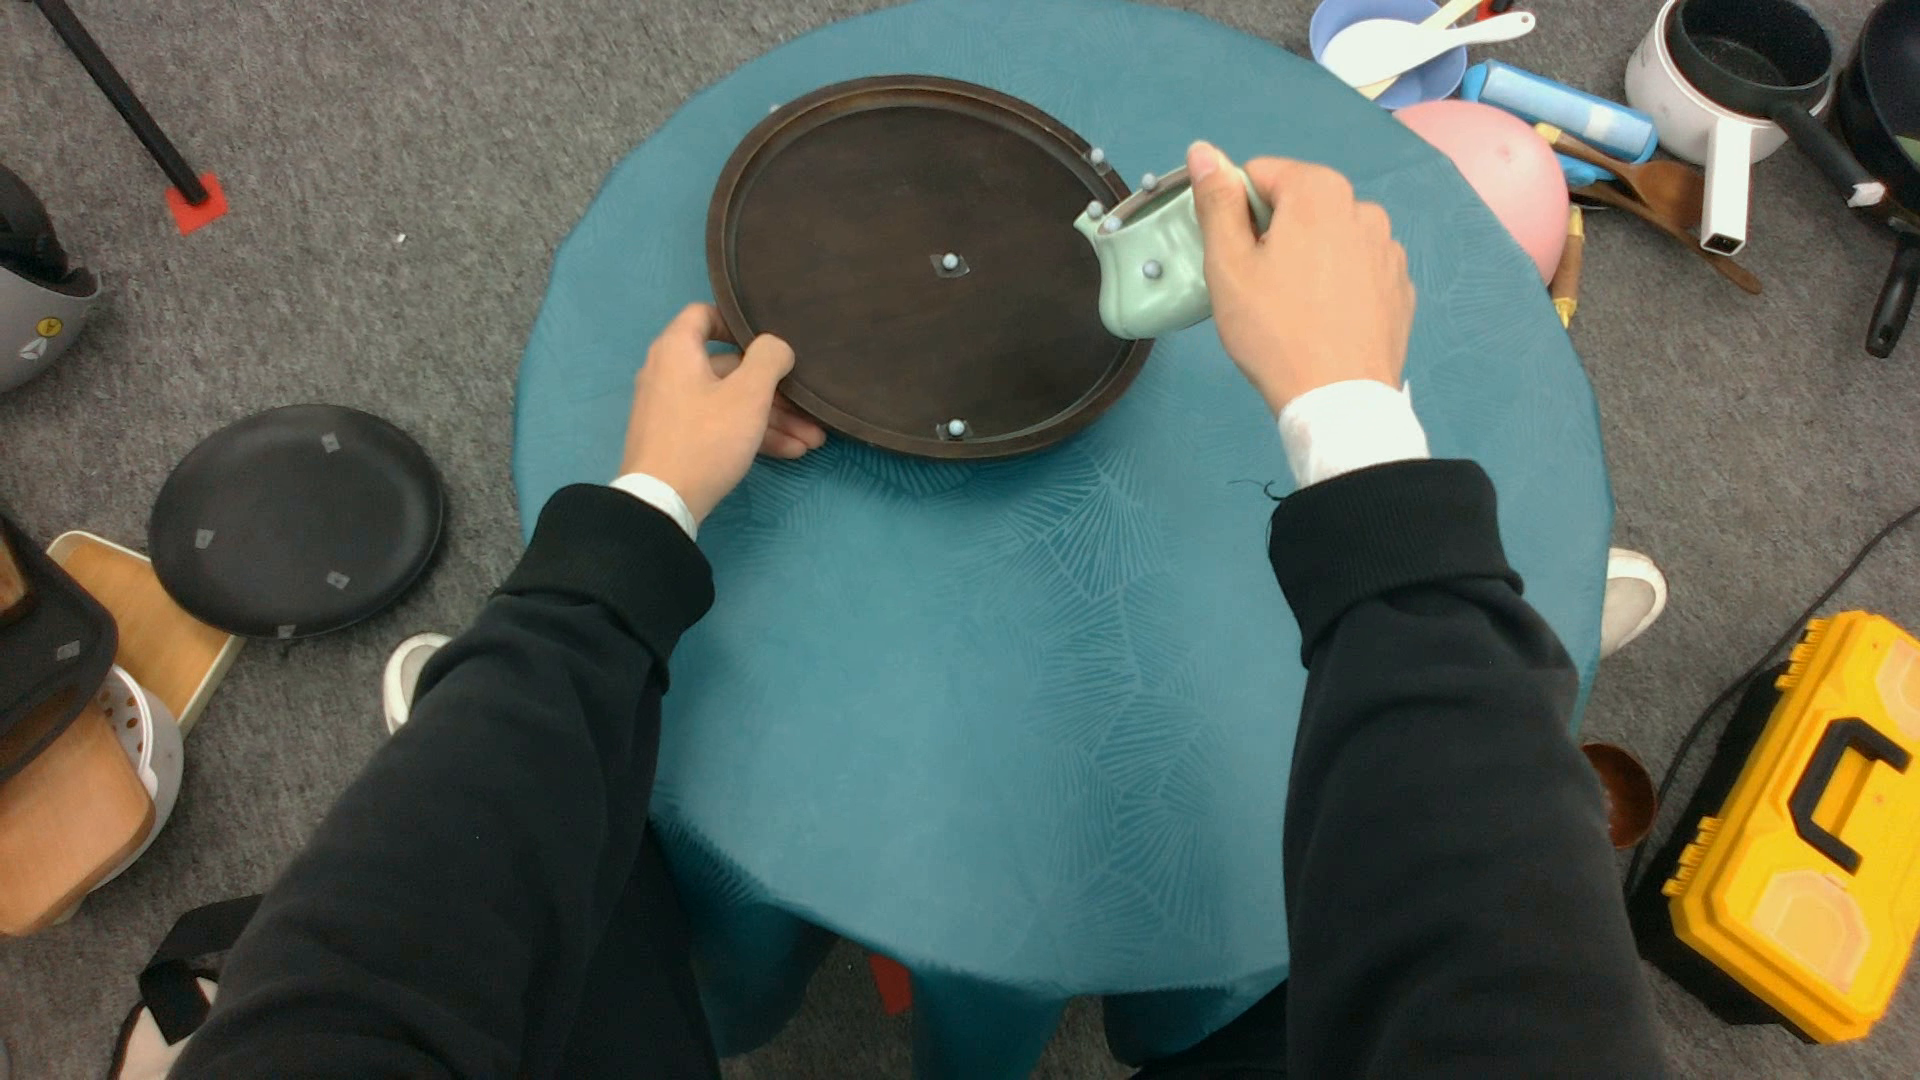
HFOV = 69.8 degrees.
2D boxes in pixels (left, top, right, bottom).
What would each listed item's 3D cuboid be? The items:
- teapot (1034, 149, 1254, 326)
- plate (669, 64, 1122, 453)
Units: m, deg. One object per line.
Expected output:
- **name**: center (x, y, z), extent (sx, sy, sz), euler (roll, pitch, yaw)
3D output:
- **teapot**: center (0.089, -0.144, 0.646), extent (0.096, 0.136, 0.061), euler (-43, 111, -22)
- **plate**: center (-0.031, -0.158, 0.756), extent (0.255, 0.029, 0.256), euler (6, 63, -12)
